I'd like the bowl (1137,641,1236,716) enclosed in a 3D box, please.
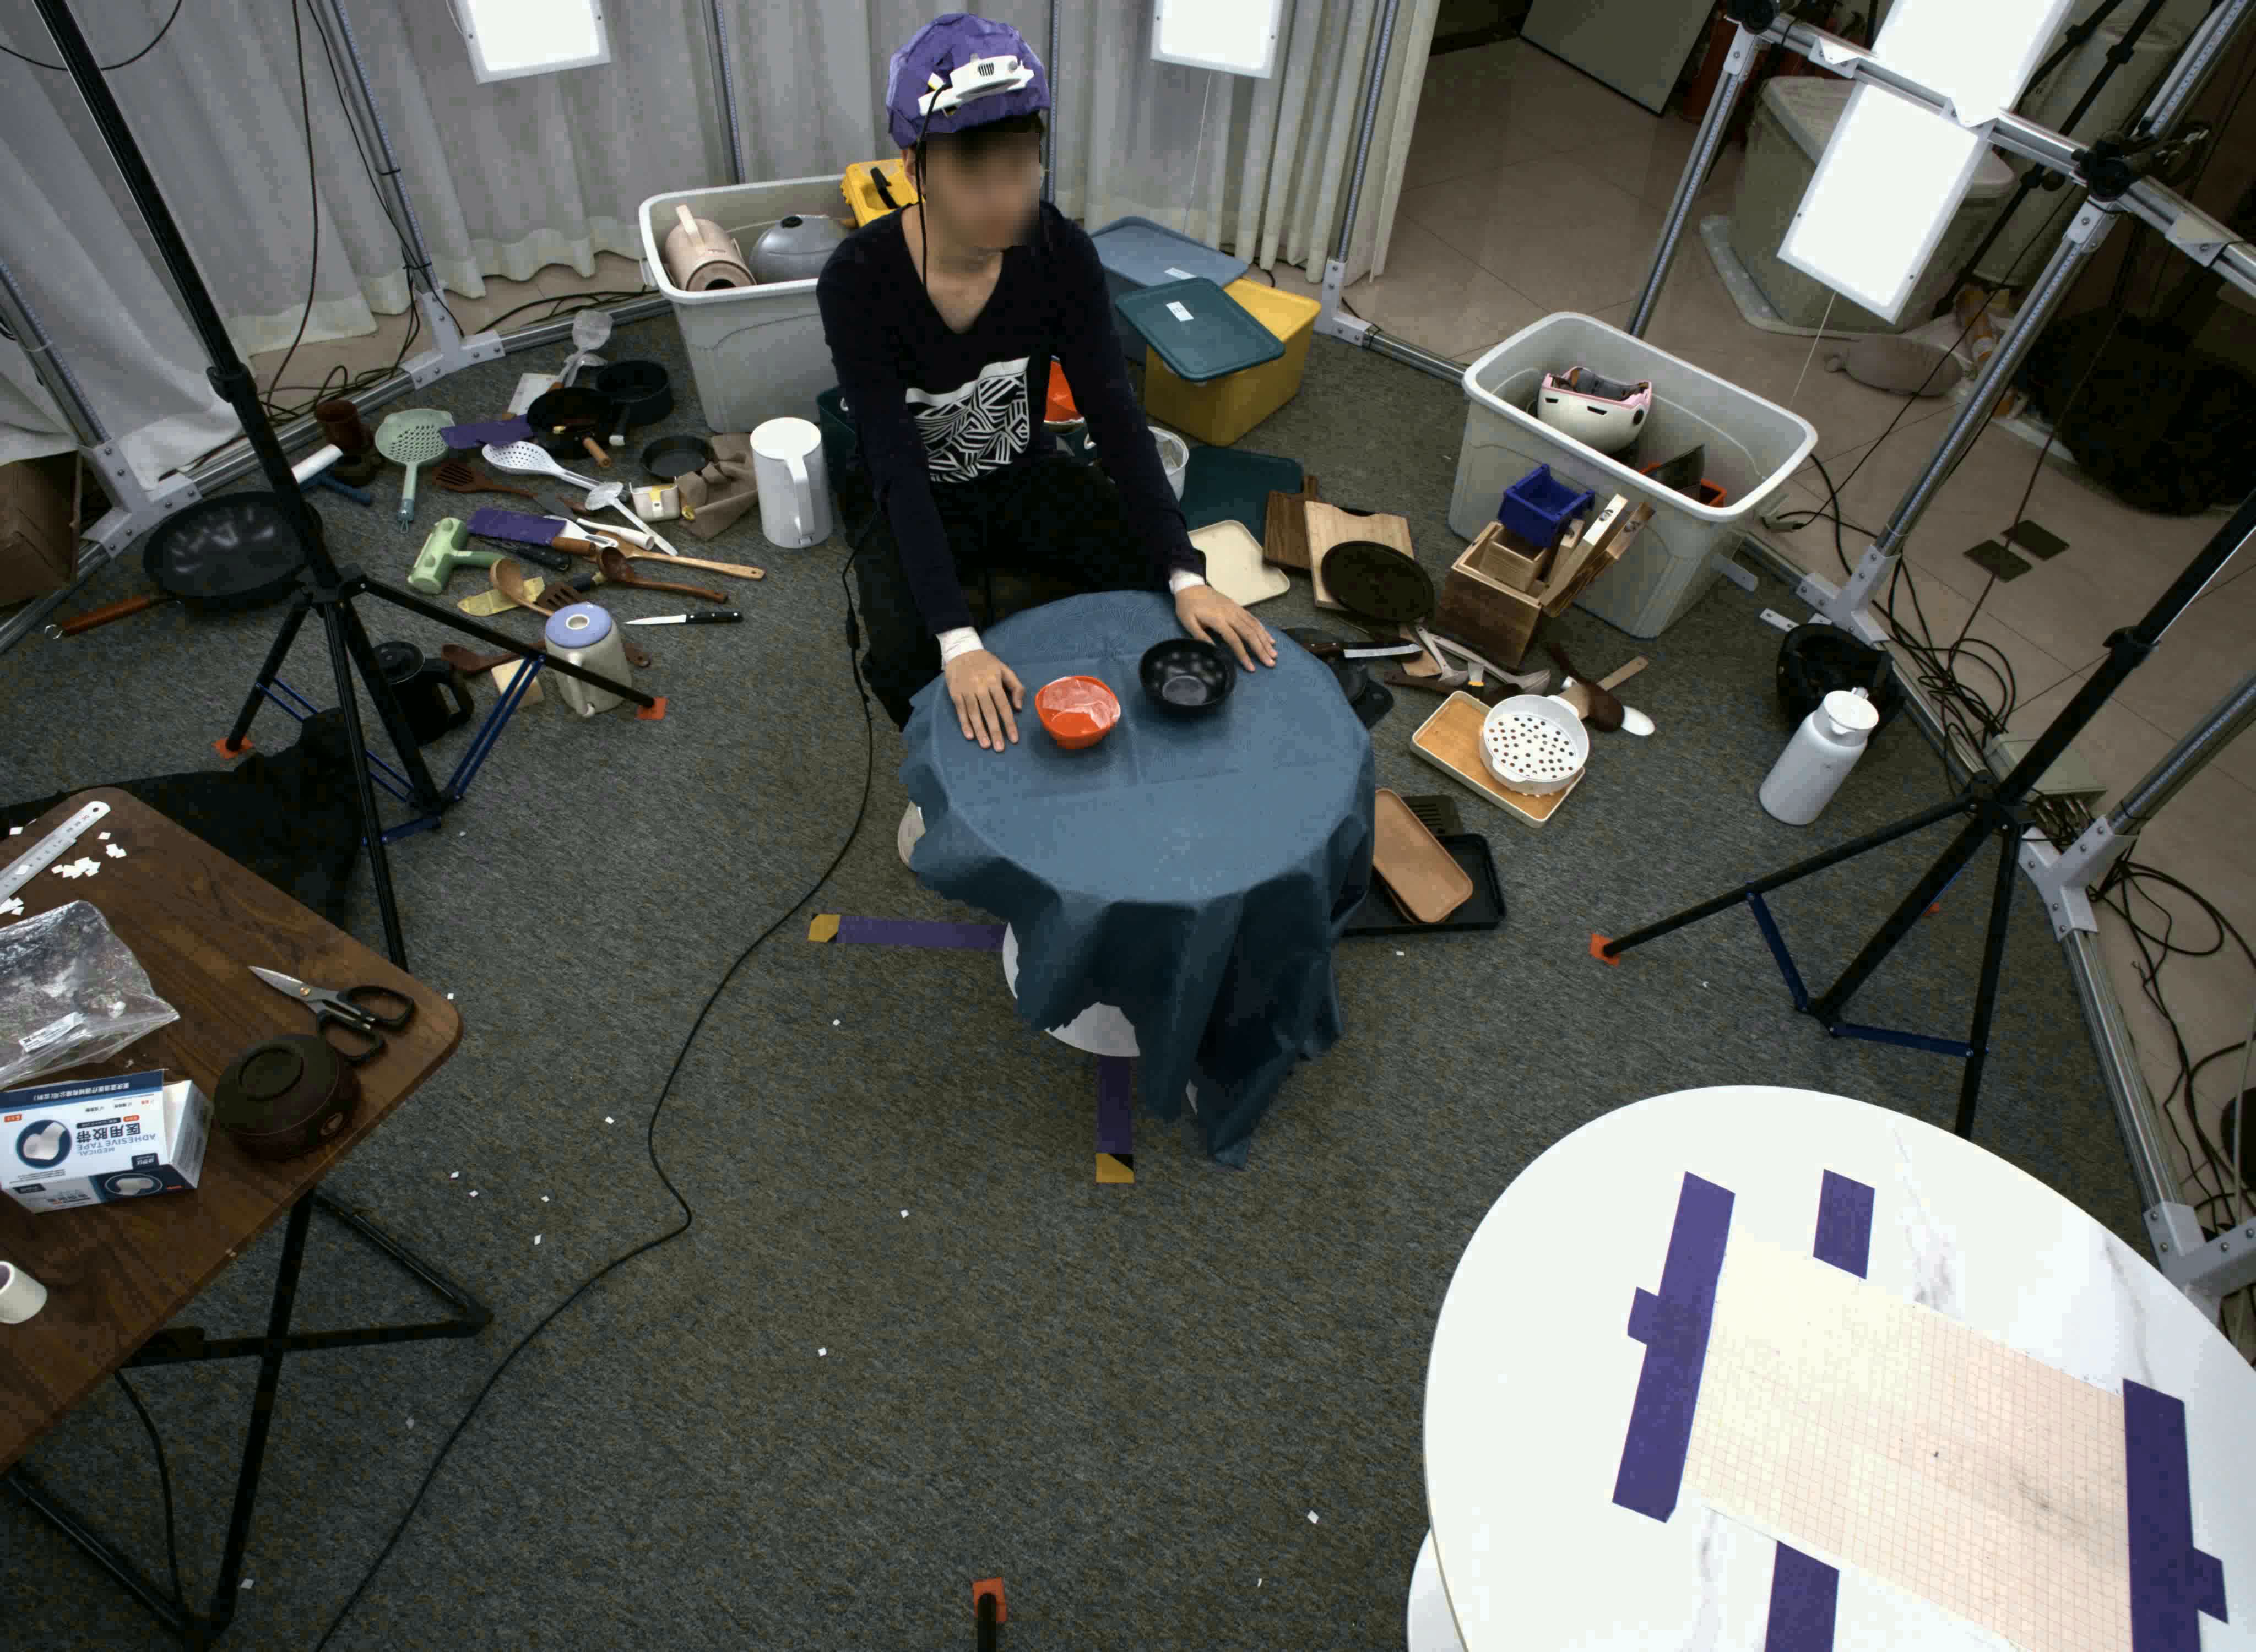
[{"bbox_3d":[0.082,-0.201,1.819,0.140,0.048,0.143,1,45,-1],"label":"bowl"}]

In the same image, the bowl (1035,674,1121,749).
[{"bbox_3d":[-0.069,-0.150,1.759,0.119,0.050,0.122,2,51,-2],"label":"bowl"}]
